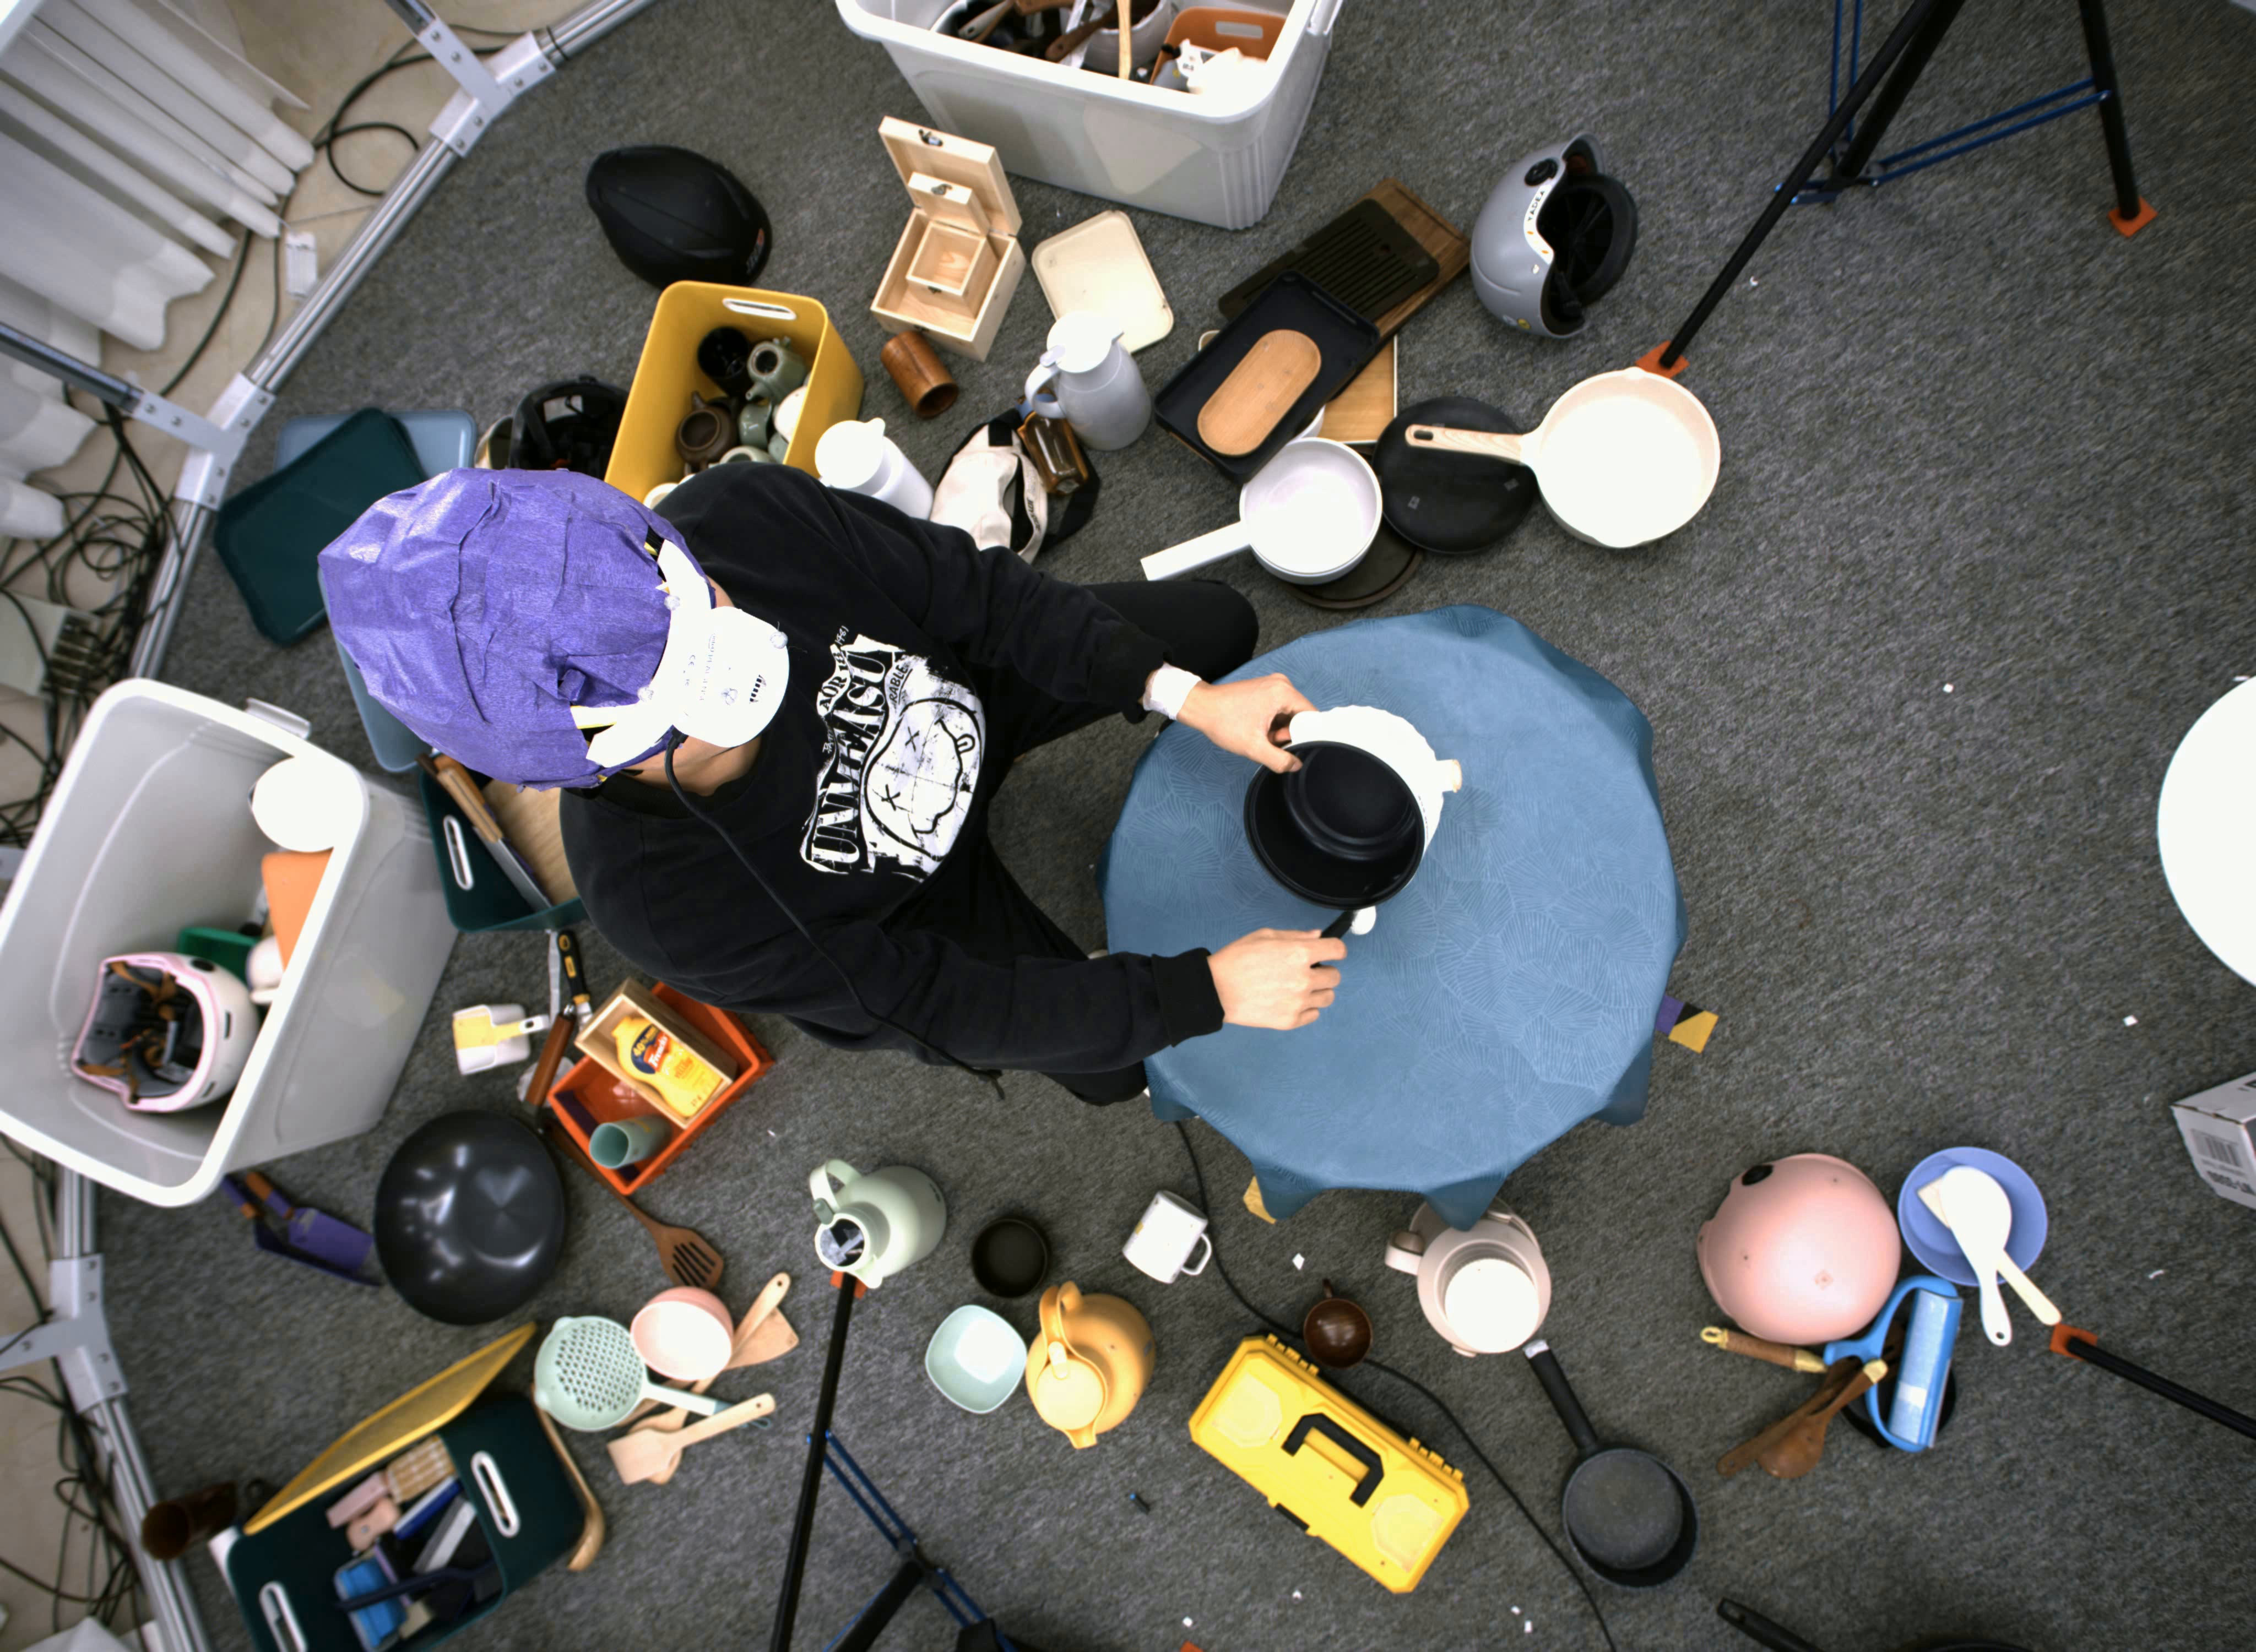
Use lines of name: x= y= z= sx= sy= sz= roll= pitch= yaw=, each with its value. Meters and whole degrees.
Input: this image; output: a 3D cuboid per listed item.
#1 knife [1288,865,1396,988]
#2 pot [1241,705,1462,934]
knife: x=0.212 y=0.089 z=1.327 sx=0.017 sy=0.220 sz=0.027 roll=38 pitch=137 yaw=13
pot: x=0.226 y=-0.029 z=1.378 sx=0.192 sy=0.139 sz=0.244 roll=-3 pitch=117 yaw=33
